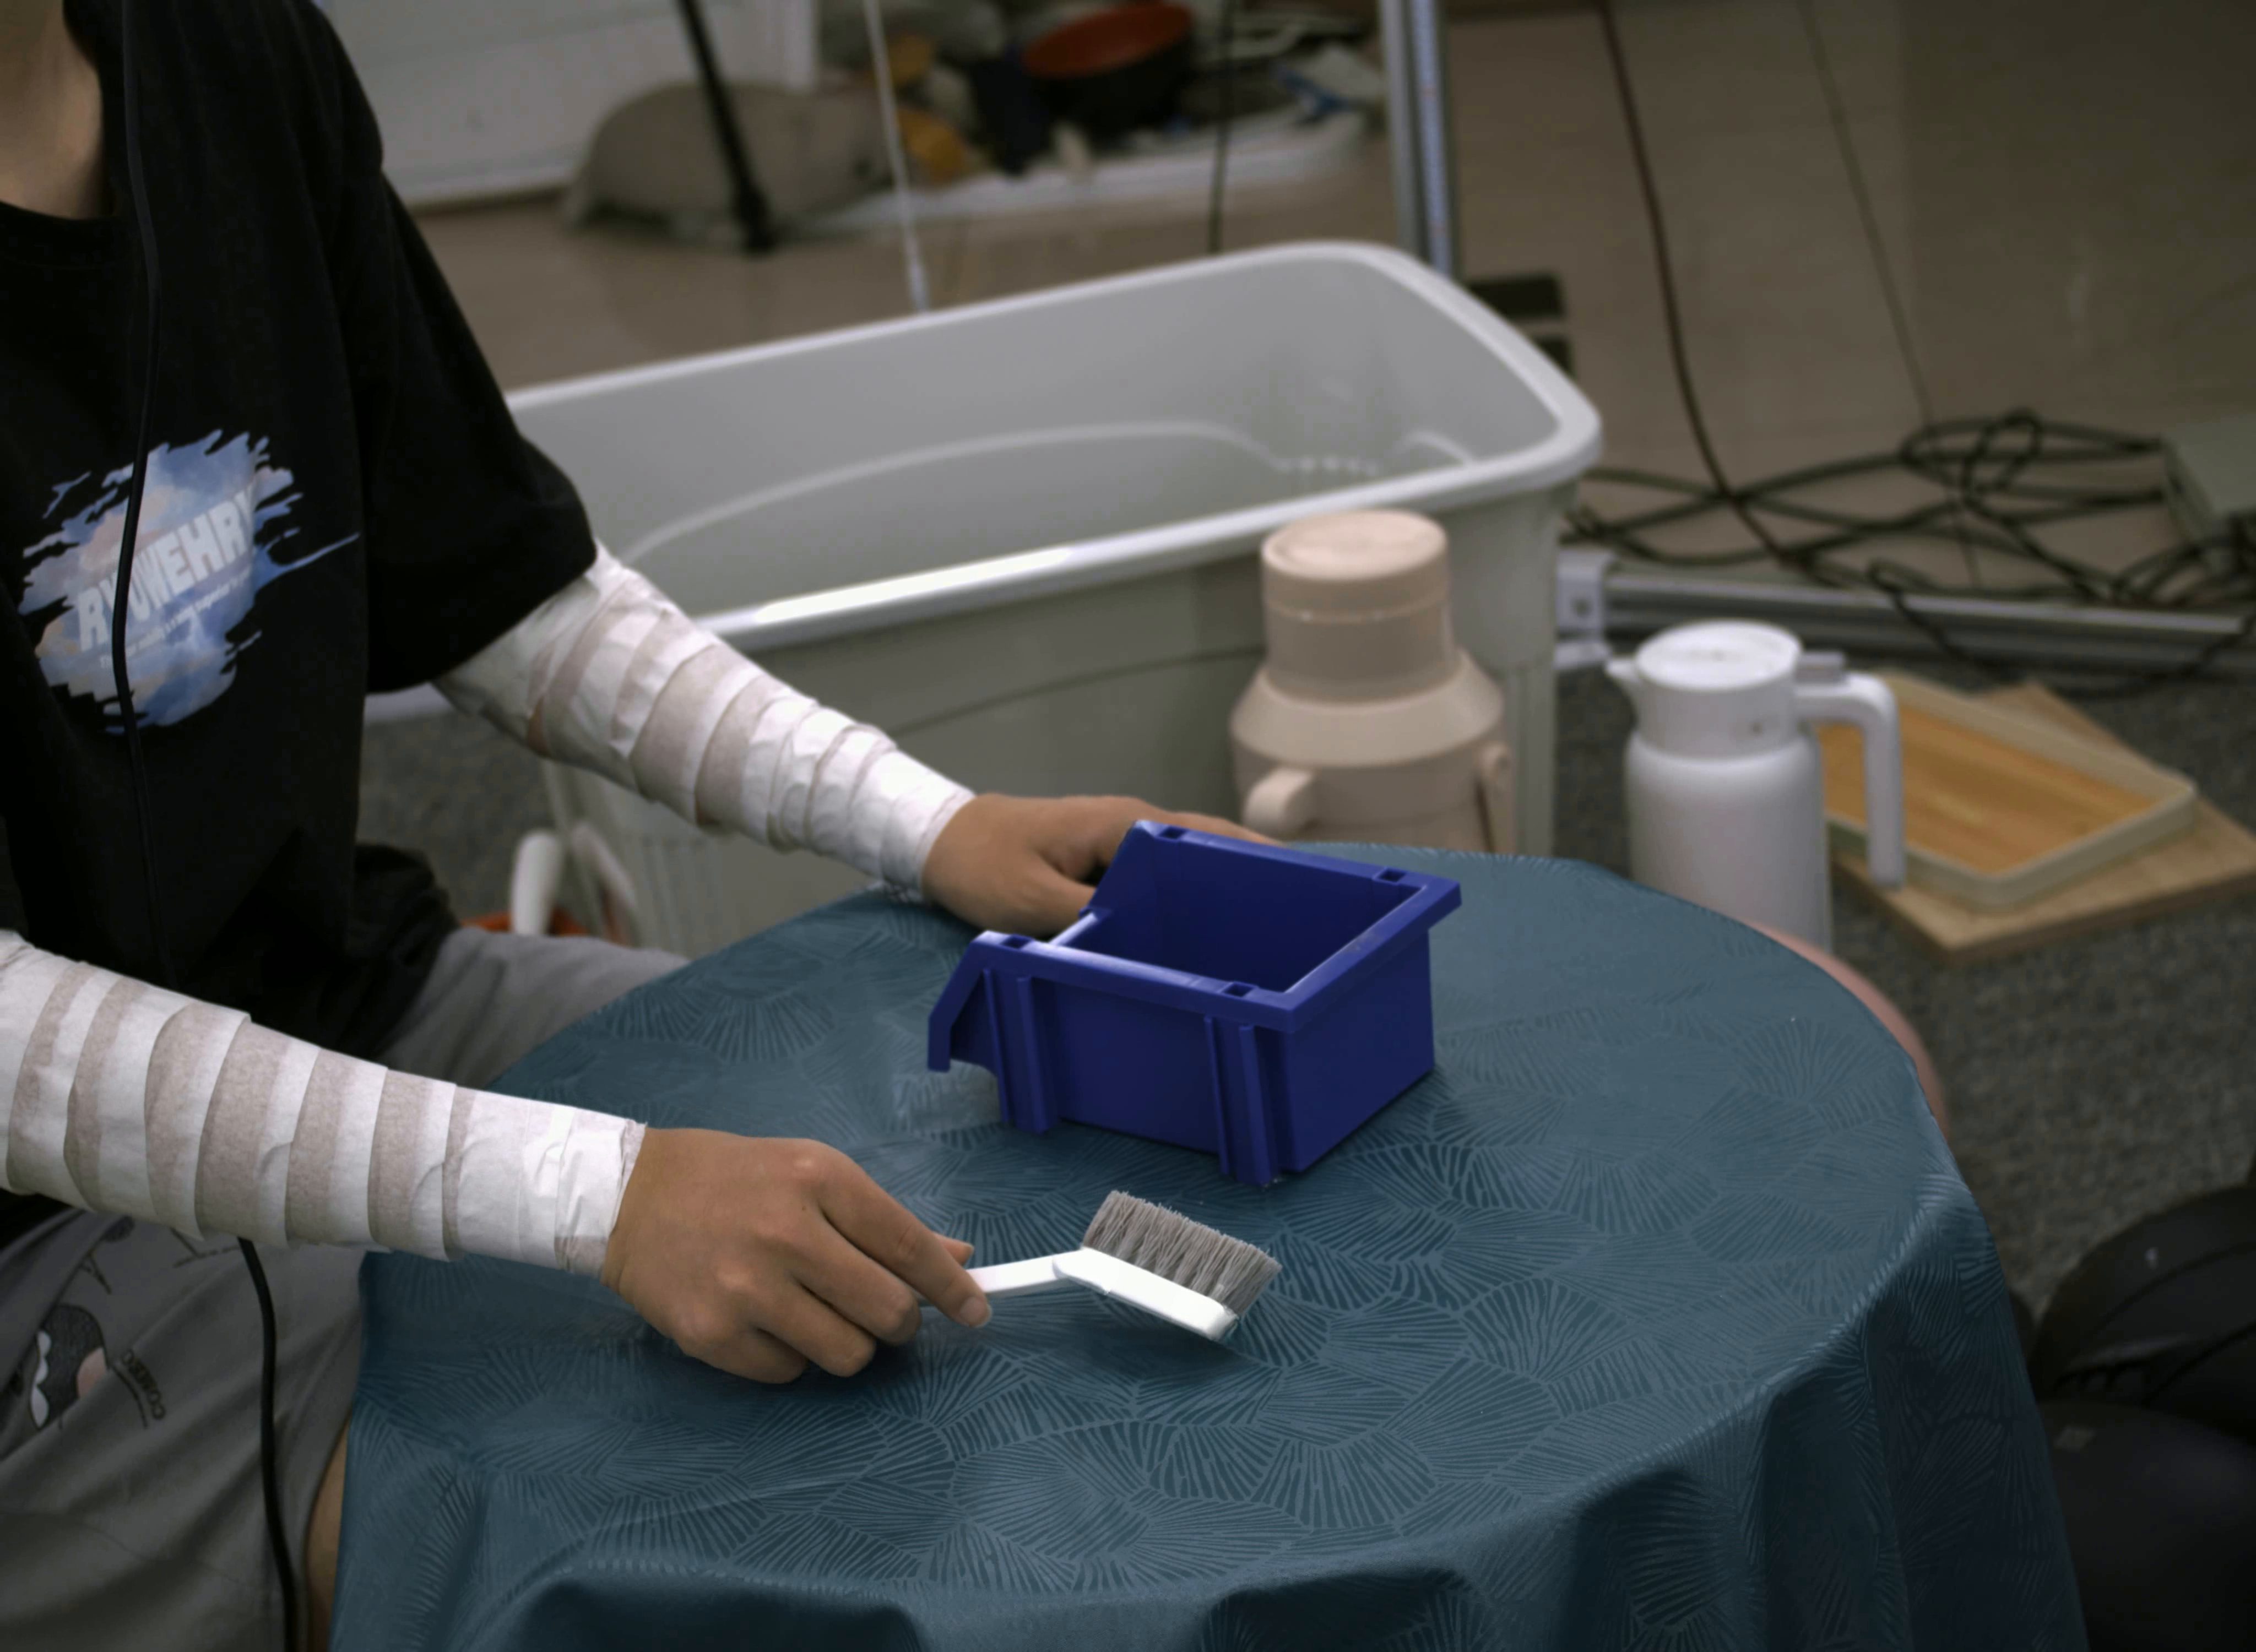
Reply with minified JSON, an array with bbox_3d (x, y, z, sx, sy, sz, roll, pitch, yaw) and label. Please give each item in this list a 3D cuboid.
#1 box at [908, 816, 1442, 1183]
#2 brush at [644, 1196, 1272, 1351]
[{"bbox_3d":[0.017,0.065,2.206,0.178,0.083,0.123,14,32,35],"label":"box"},{"bbox_3d":[-0.064,0.156,2.066,0.243,0.050,0.034,3,-13,24],"label":"brush"}]
